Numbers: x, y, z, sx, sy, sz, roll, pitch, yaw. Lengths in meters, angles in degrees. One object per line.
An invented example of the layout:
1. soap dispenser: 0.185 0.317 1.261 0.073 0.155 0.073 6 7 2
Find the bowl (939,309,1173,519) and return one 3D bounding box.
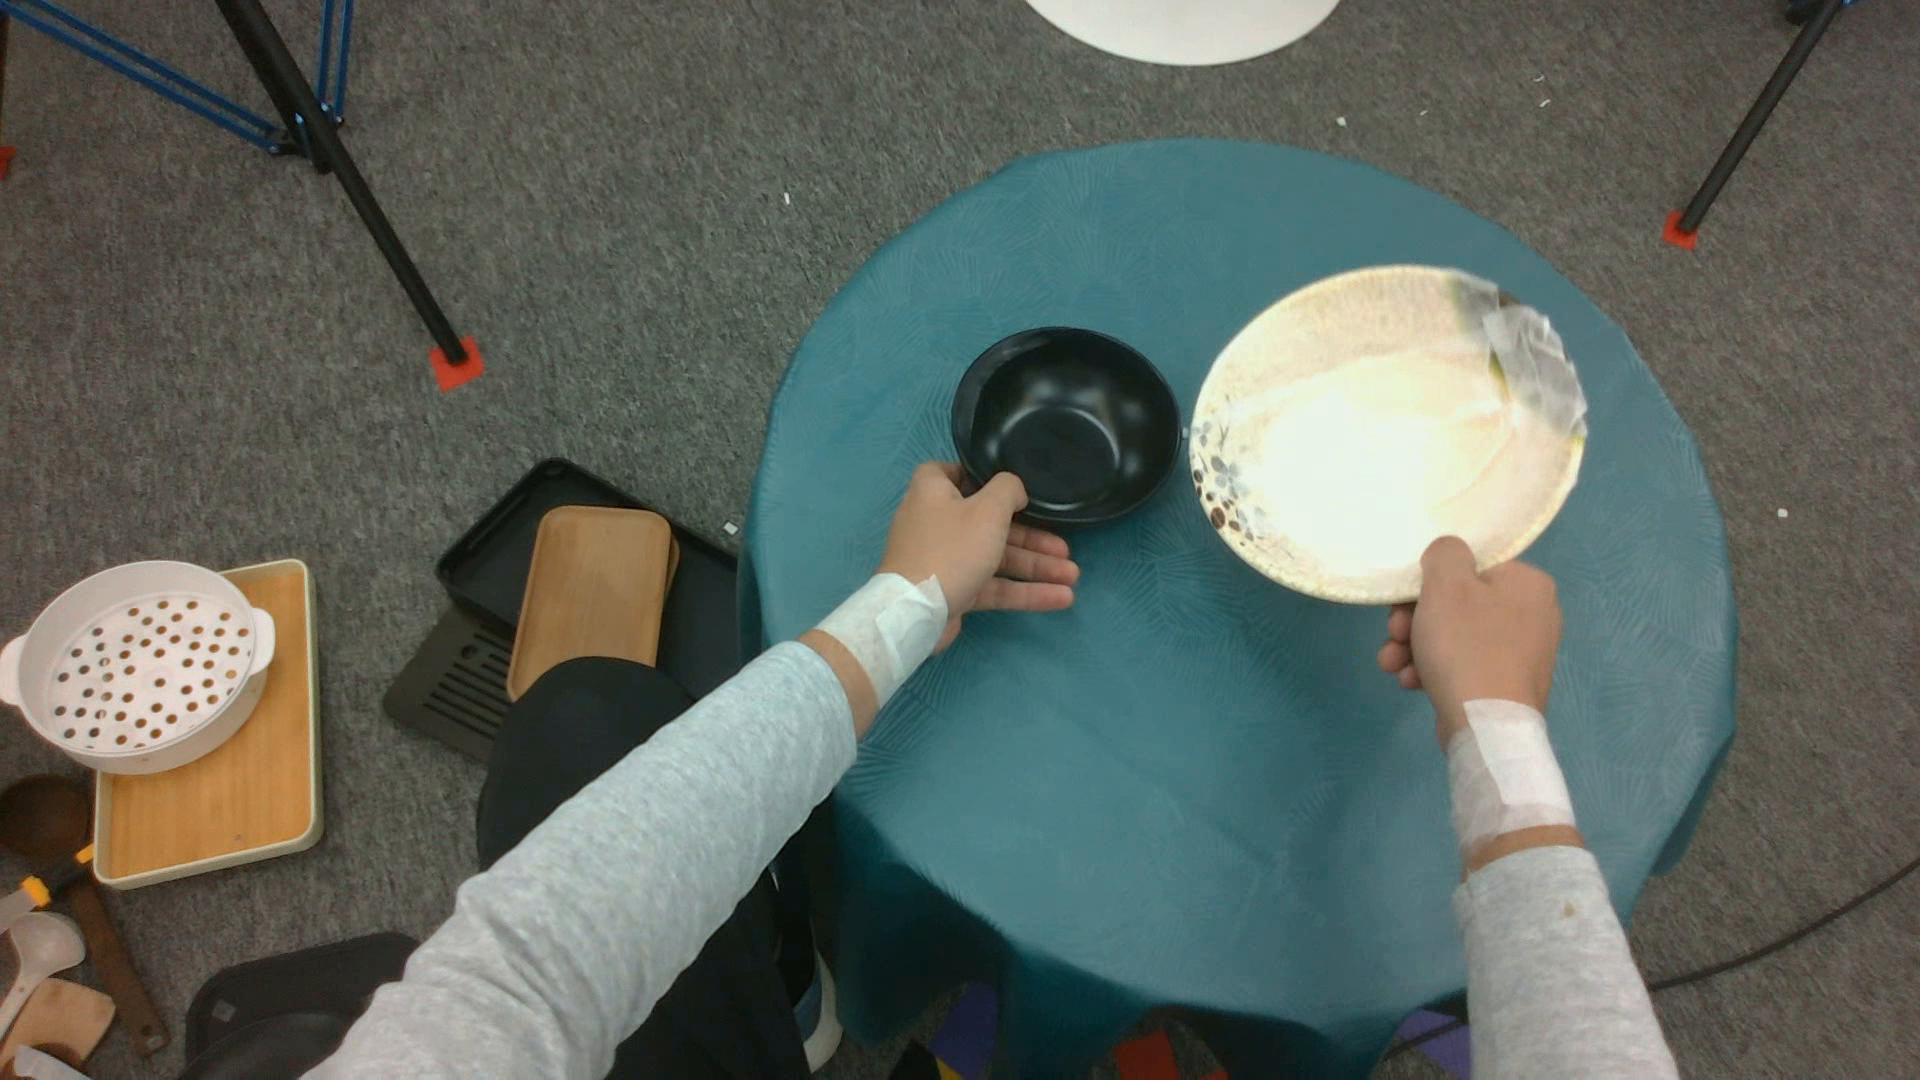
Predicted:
1. bowl: 0.057 -0.070 0.836 0.140 0.049 0.140 1 65 -1

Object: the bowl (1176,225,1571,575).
1. bowl: 0.228 -0.067 0.762 0.203 0.078 0.204 -8 67 21
